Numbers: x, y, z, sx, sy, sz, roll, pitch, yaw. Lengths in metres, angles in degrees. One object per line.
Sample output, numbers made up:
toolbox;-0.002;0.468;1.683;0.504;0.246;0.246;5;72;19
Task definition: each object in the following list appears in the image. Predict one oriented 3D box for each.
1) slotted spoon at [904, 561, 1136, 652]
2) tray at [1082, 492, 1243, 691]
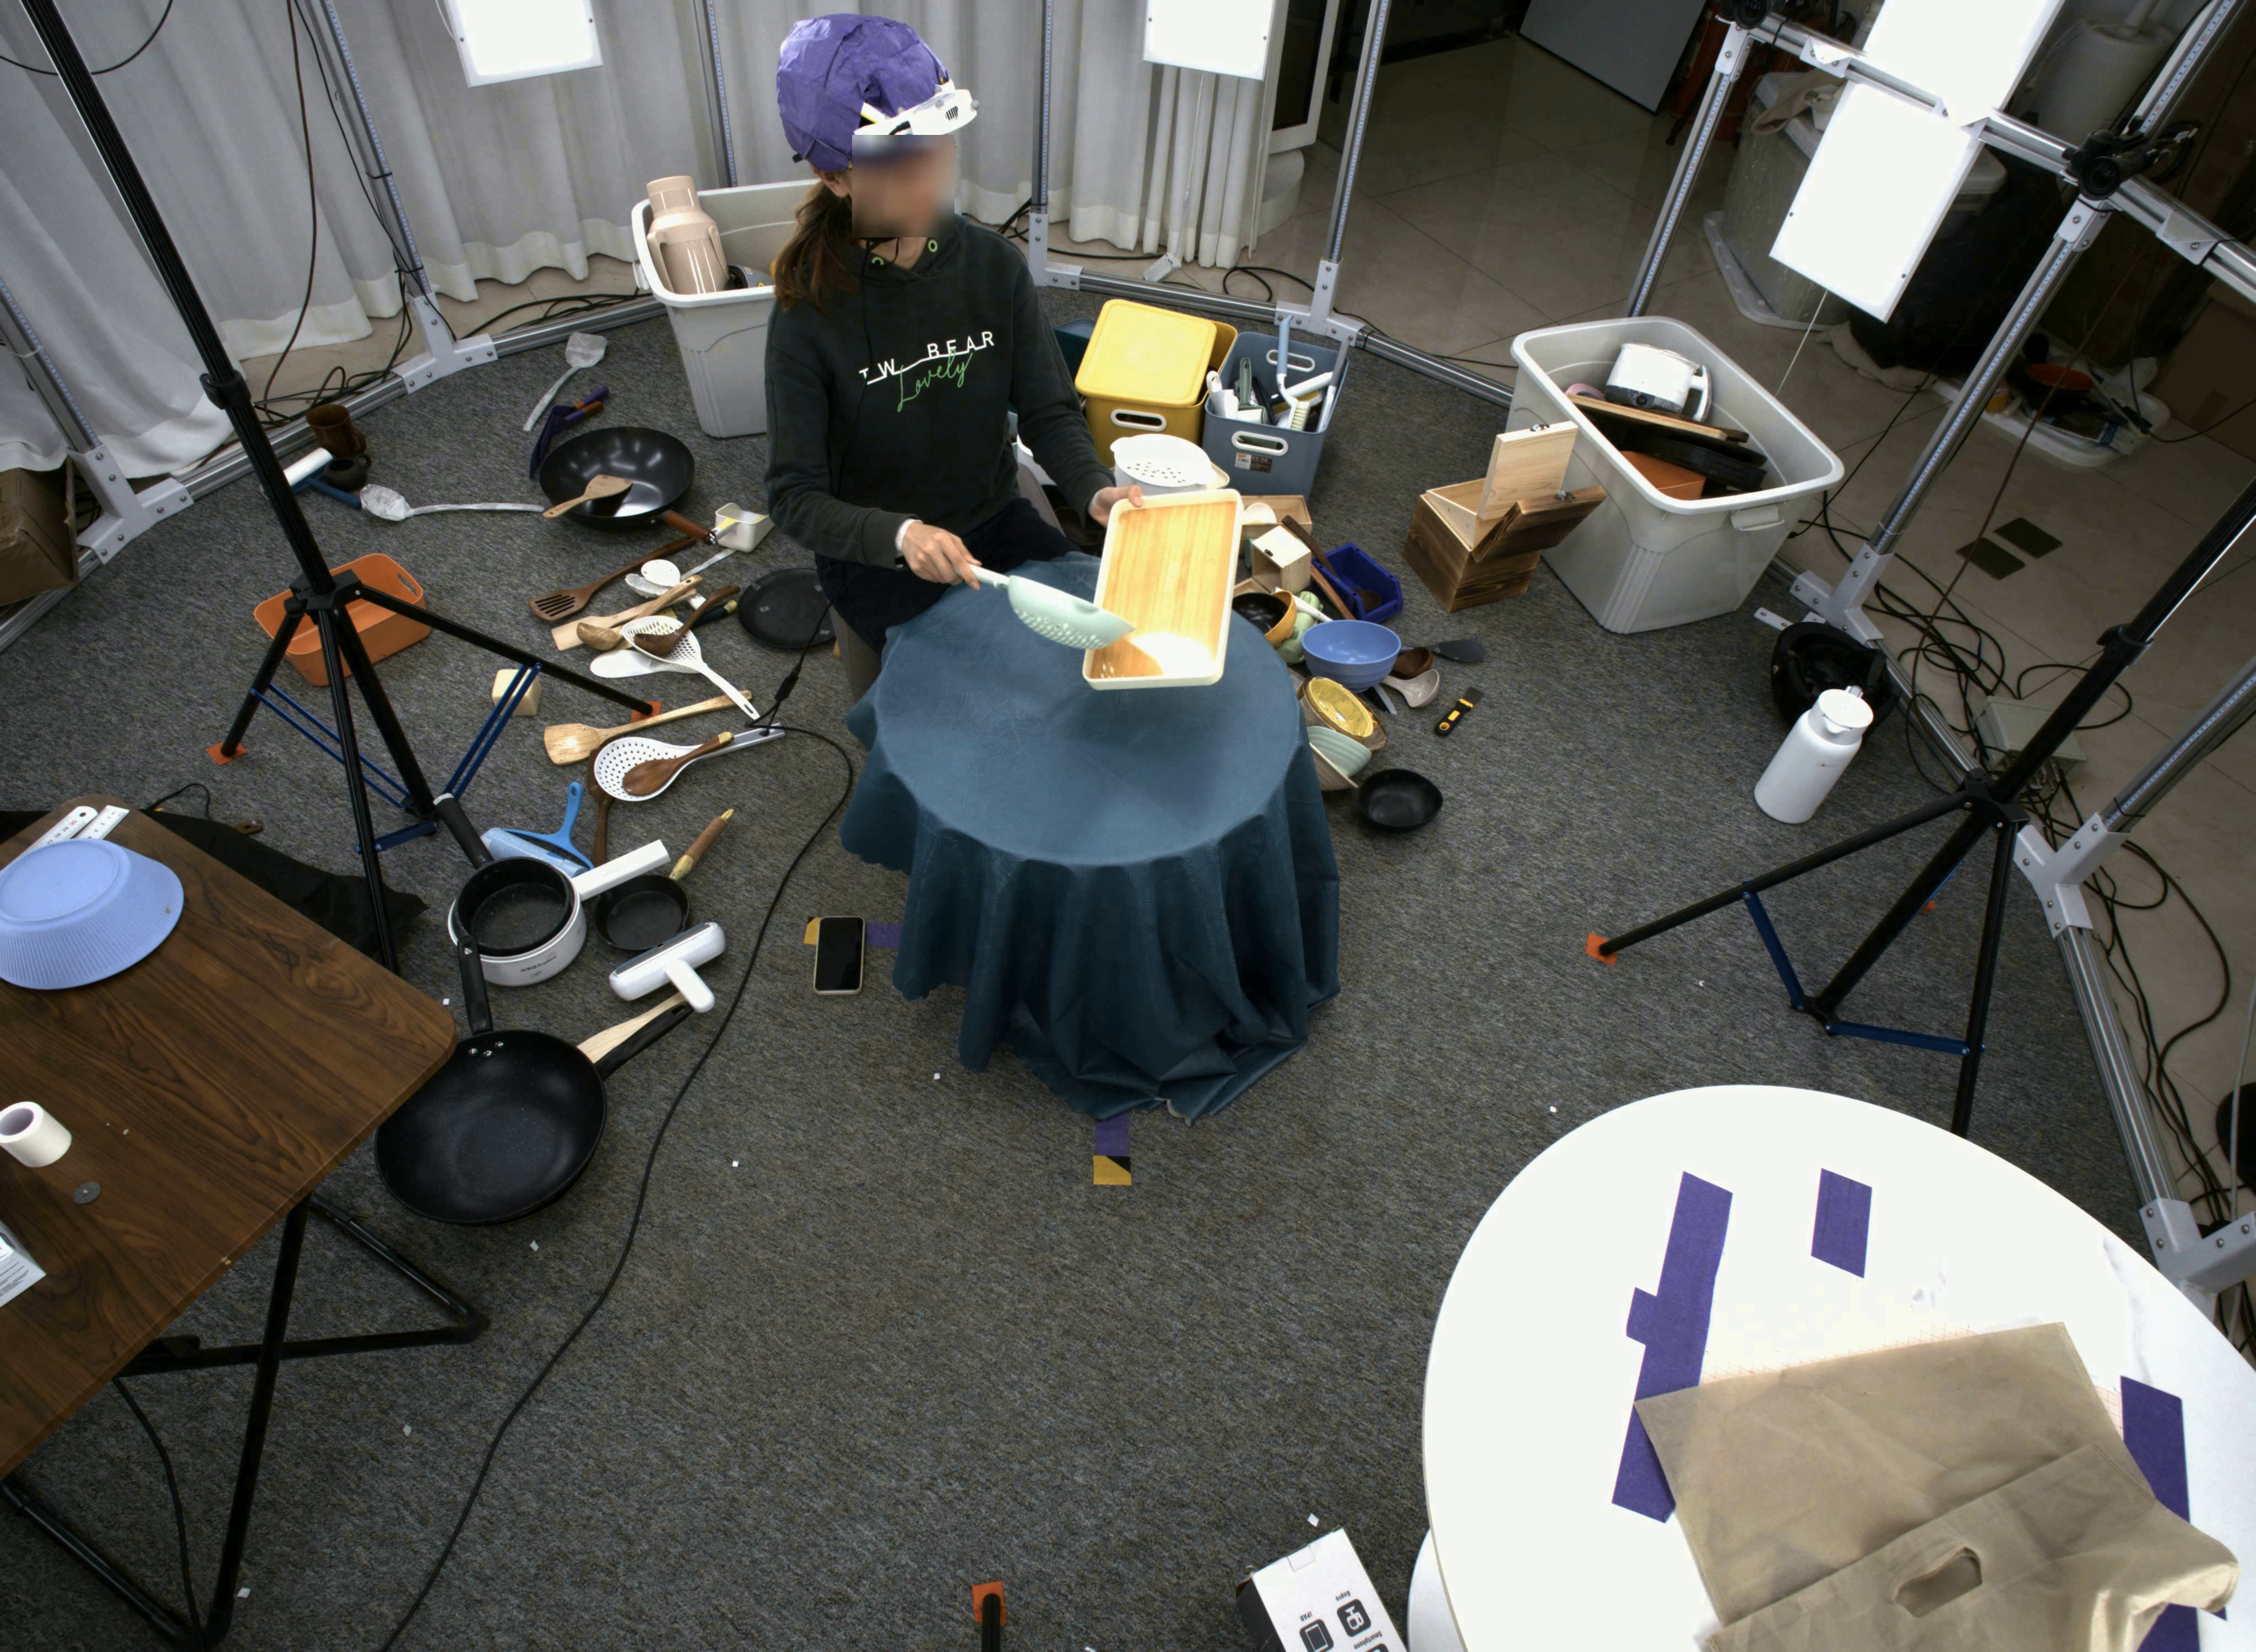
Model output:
slotted spoon;-0.158;-0.308;1.719;0.364;0.167;0.075;30;96;29
tray;0.050;-0.322;1.754;0.192;0.027;0.306;-1;63;20
